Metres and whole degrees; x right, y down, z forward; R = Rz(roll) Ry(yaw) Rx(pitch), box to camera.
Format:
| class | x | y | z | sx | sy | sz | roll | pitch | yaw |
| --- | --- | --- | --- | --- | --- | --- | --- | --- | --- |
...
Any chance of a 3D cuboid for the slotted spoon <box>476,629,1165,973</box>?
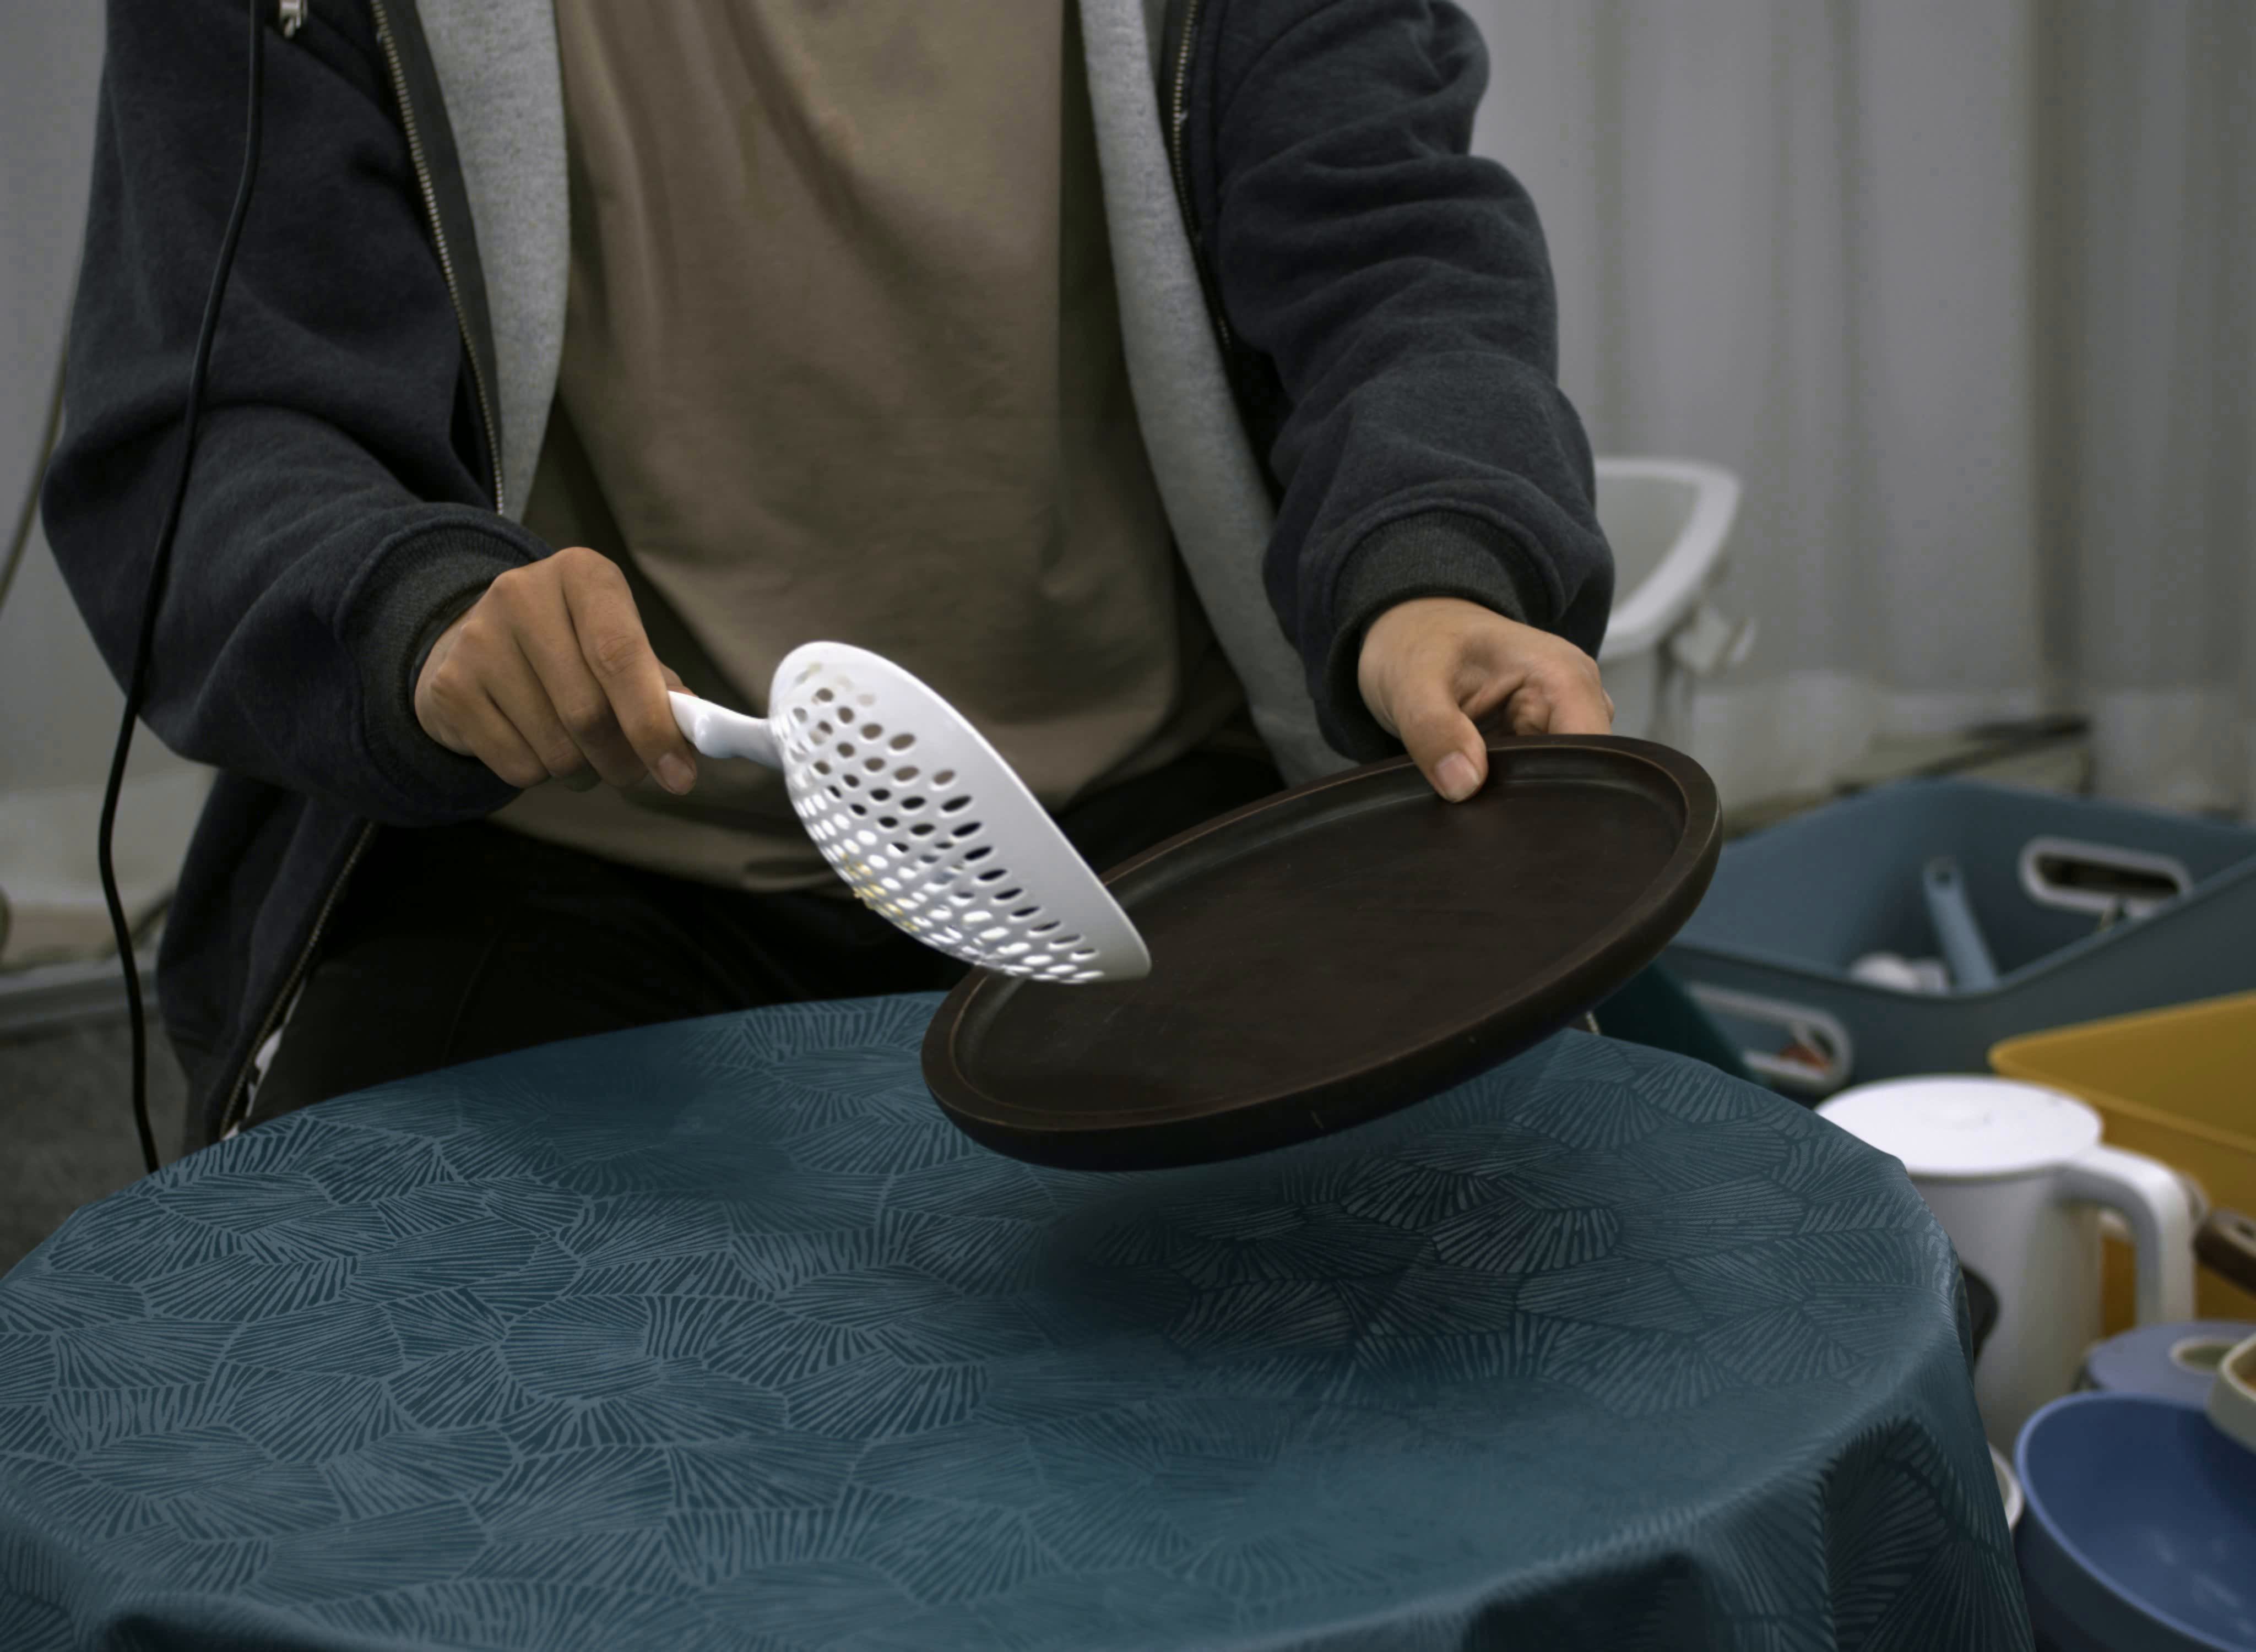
| class | x | y | z | sx | sy | sz | roll | pitch | yaw |
| --- | --- | --- | --- | --- | --- | --- | --- | --- | --- |
| slotted spoon | -0.109 | -0.017 | 1.664 | 0.050 | 0.135 | 0.350 | -46 | 29 | -12 |

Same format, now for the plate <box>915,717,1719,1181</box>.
| class | x | y | z | sx | sy | sz | roll | pitch | yaw |
| --- | --- | --- | --- | --- | --- | --- | --- | --- | --- |
| plate | 0.058 | 0.038 | 1.637 | 0.254 | 0.029 | 0.257 | -20 | 18 | 6 |
